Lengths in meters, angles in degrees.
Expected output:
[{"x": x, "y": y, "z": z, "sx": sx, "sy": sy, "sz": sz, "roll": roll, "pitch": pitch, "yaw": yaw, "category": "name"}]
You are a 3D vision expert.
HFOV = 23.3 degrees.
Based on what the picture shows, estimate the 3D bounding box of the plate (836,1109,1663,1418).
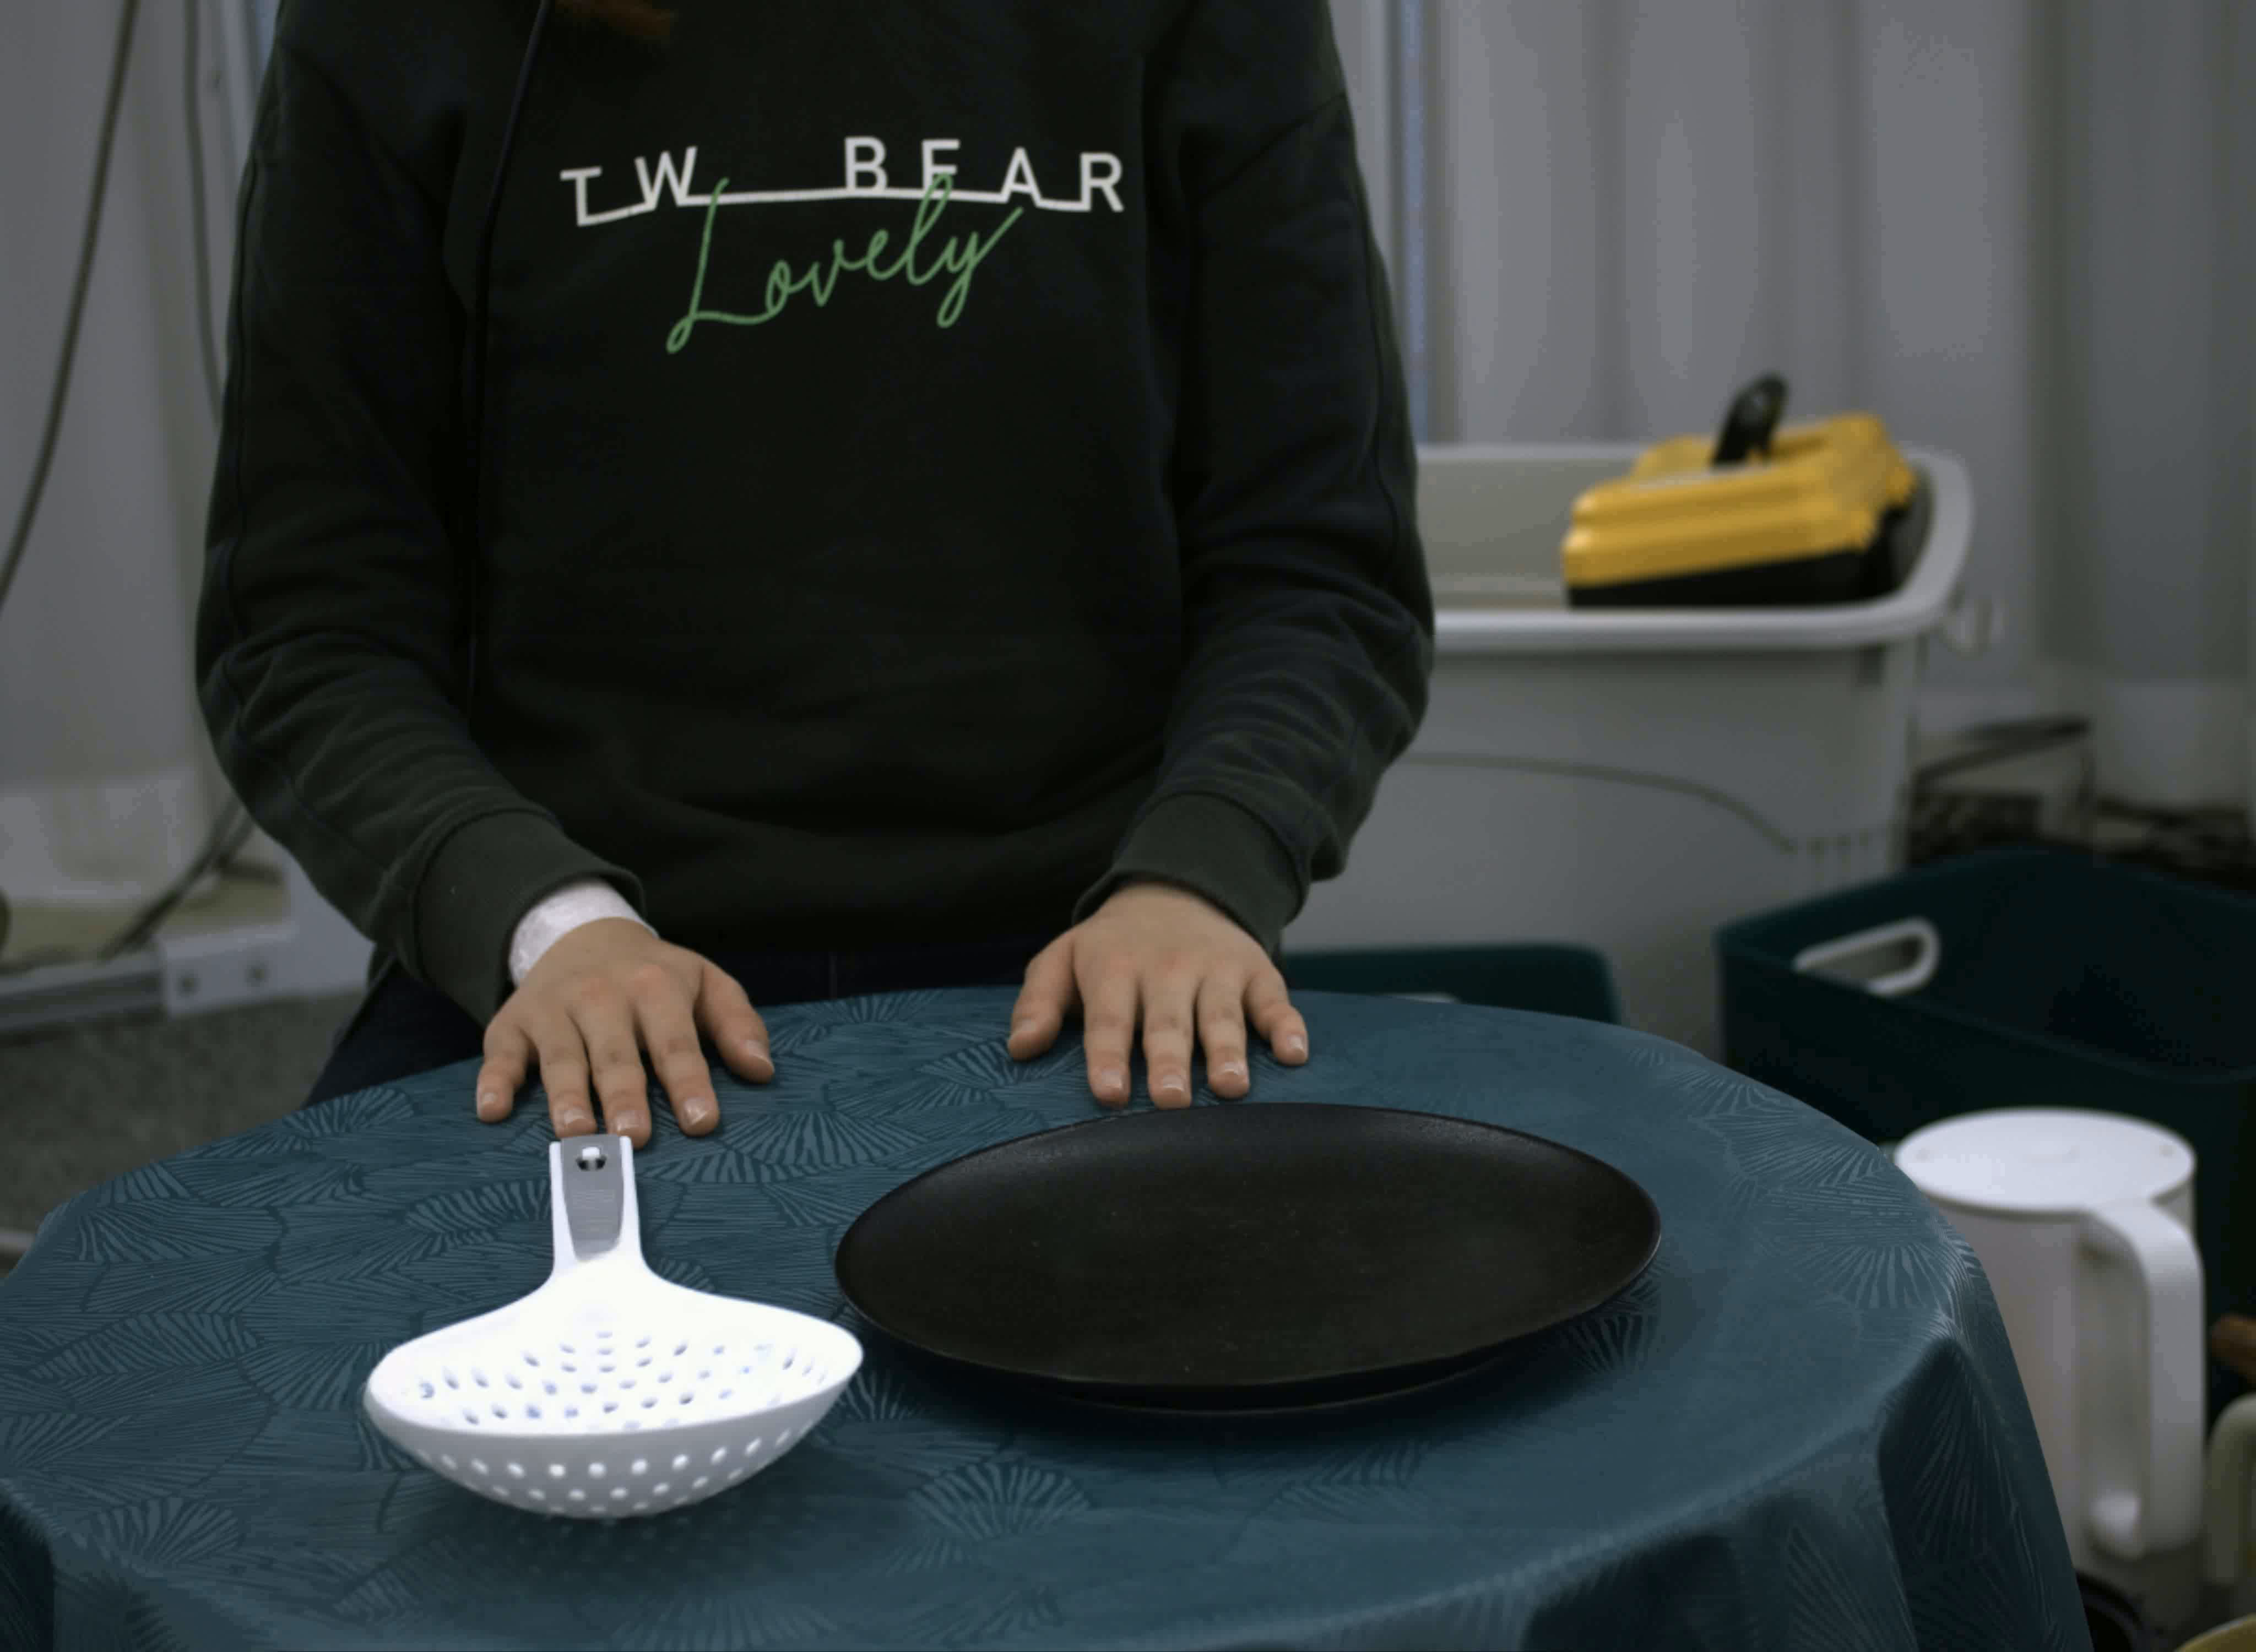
[{"x": 0.036, "y": 0.130, "z": 1.606, "sx": 0.243, "sy": 0.023, "sz": 0.246, "roll": -3, "pitch": 15, "yaw": 0, "category": "plate"}]

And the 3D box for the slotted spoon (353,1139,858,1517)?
[{"x": -0.152, "y": 0.135, "z": 1.579, "sx": 0.135, "sy": 0.045, "sz": 0.352, "roll": -2, "pitch": 14, "yaw": -6, "category": "slotted spoon"}]
